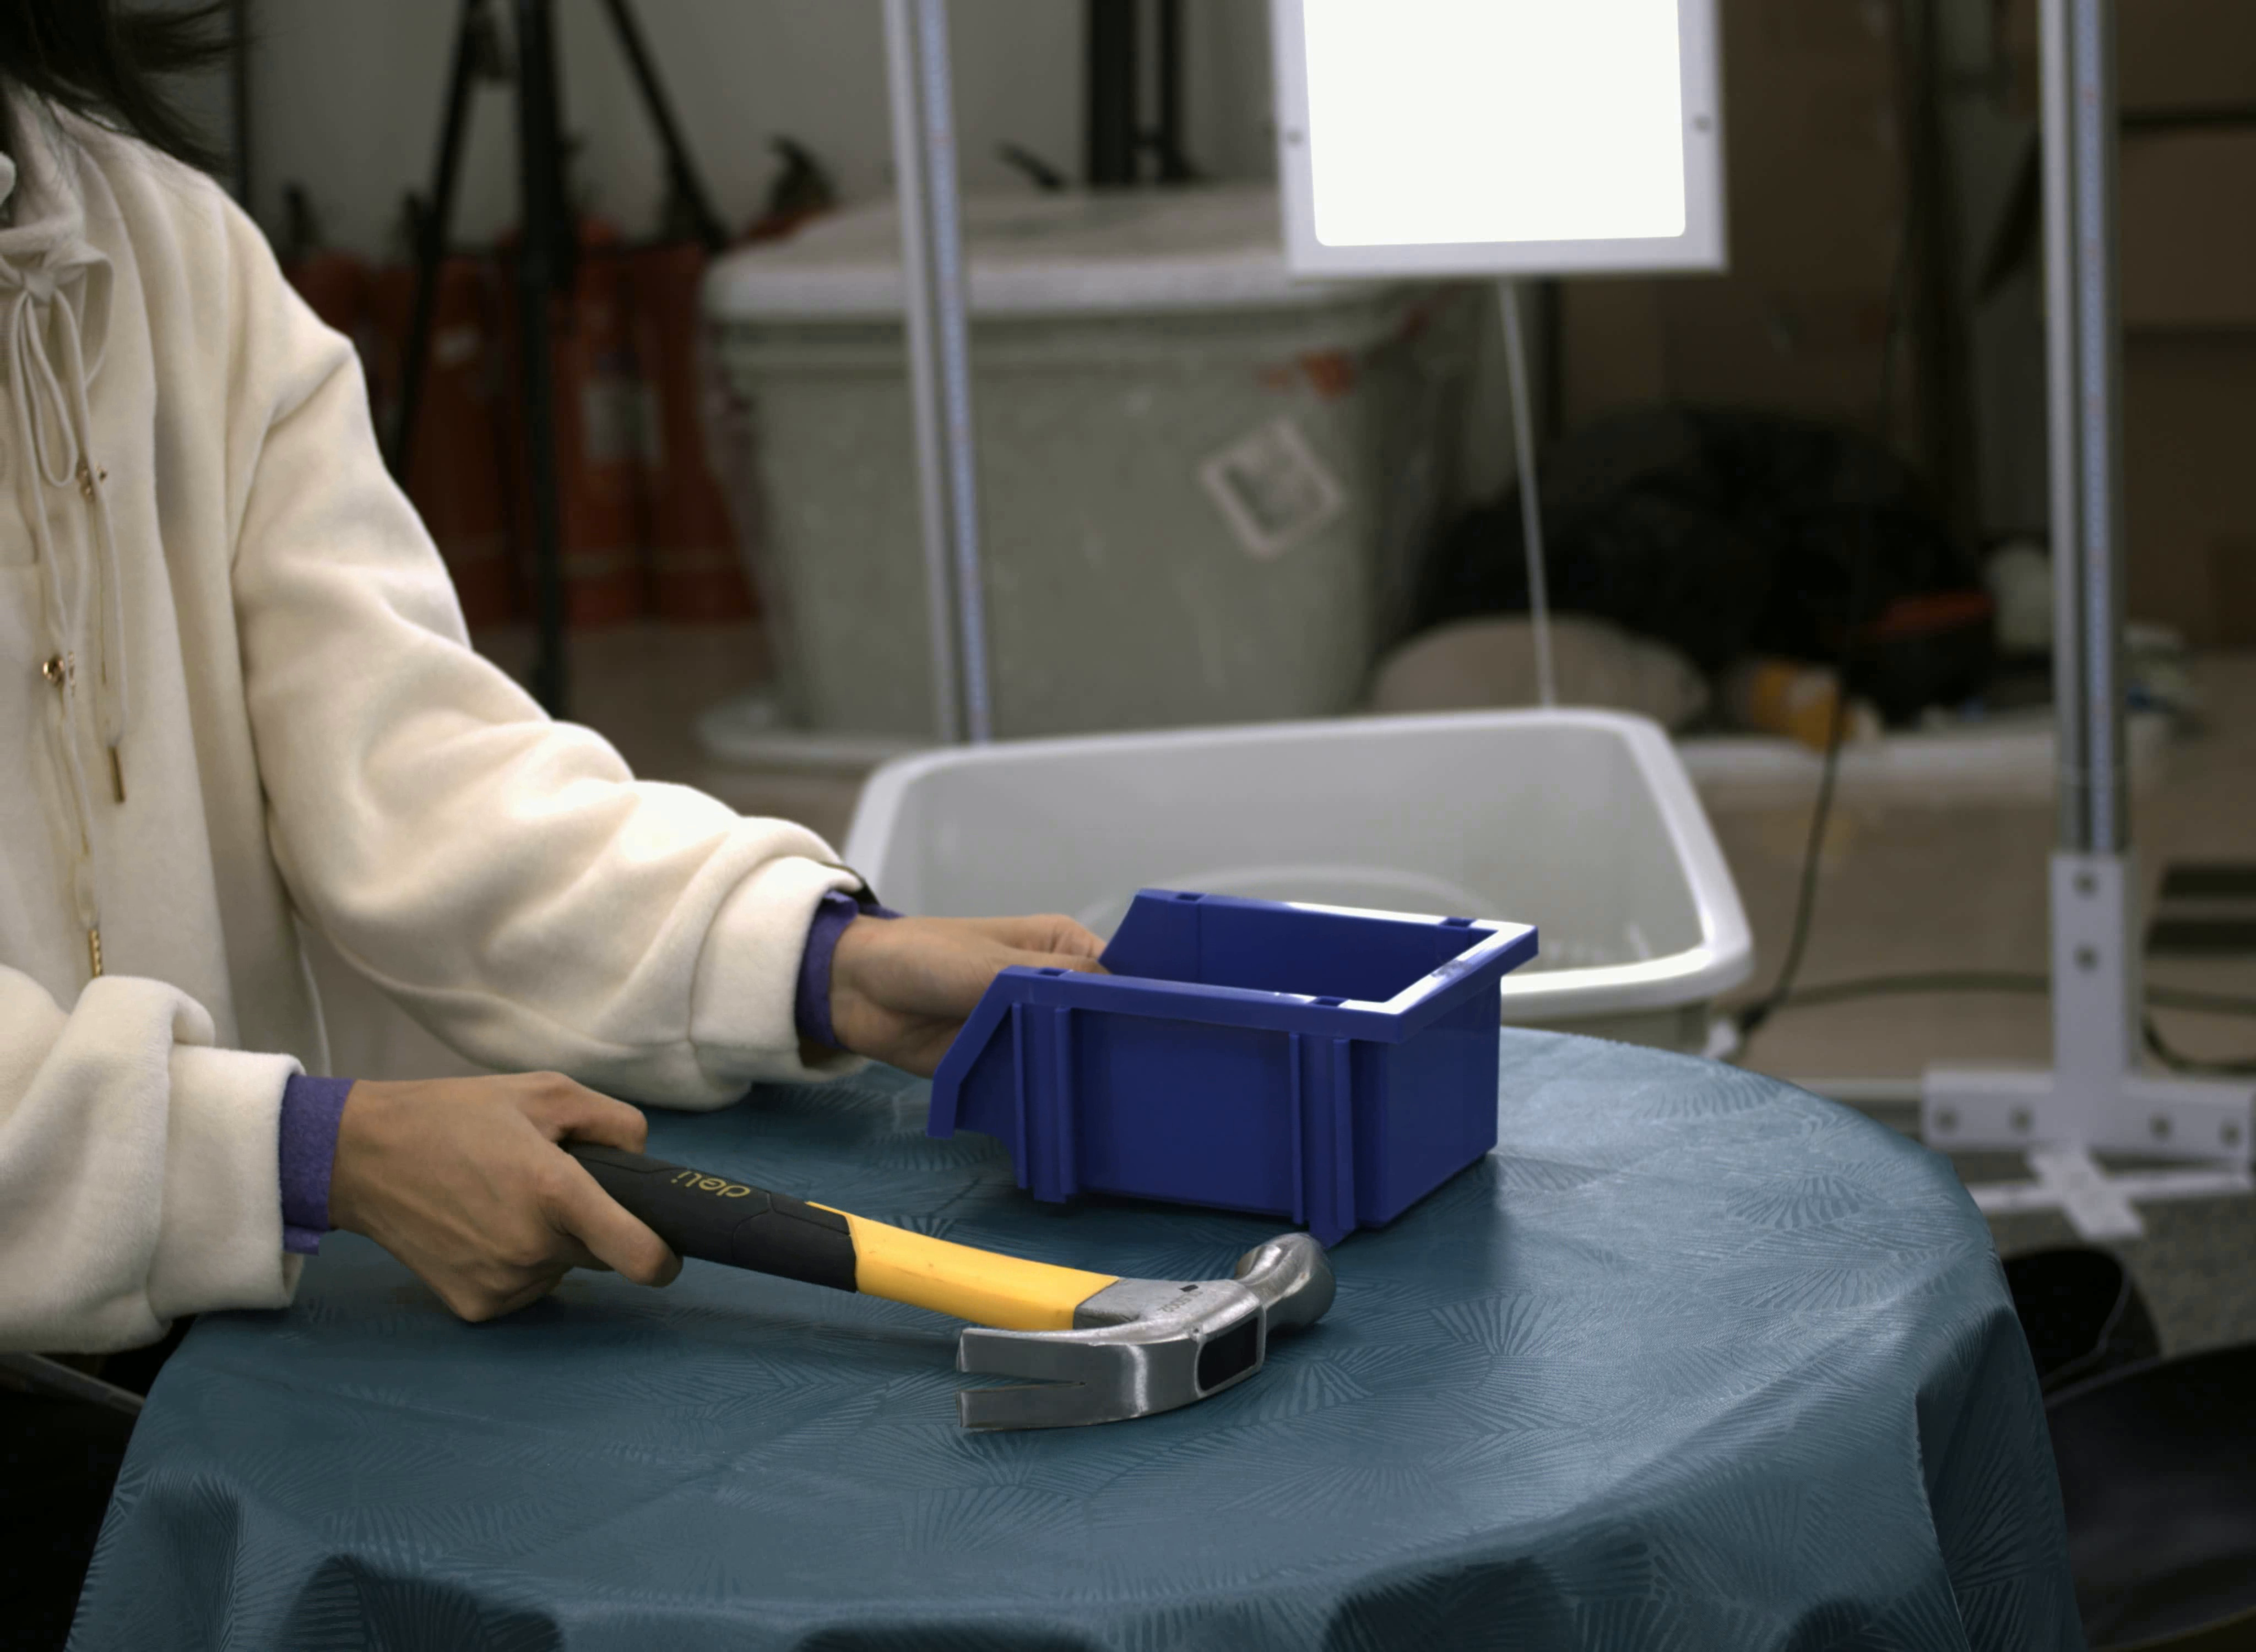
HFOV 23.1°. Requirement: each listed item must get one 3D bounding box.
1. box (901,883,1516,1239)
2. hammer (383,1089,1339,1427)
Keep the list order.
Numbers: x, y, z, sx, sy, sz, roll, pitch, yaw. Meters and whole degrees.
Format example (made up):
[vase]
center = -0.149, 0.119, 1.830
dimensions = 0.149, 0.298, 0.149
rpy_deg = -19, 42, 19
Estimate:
[box]
center = 0.027, 0.078, 1.896
dimensions = 0.182, 0.082, 0.122
rpy_deg = 8, 17, 28
[hammer]
center = -0.107, 0.131, 1.785
dimensions = 0.345, 0.032, 0.128
rpy_deg = 12, 23, 35
